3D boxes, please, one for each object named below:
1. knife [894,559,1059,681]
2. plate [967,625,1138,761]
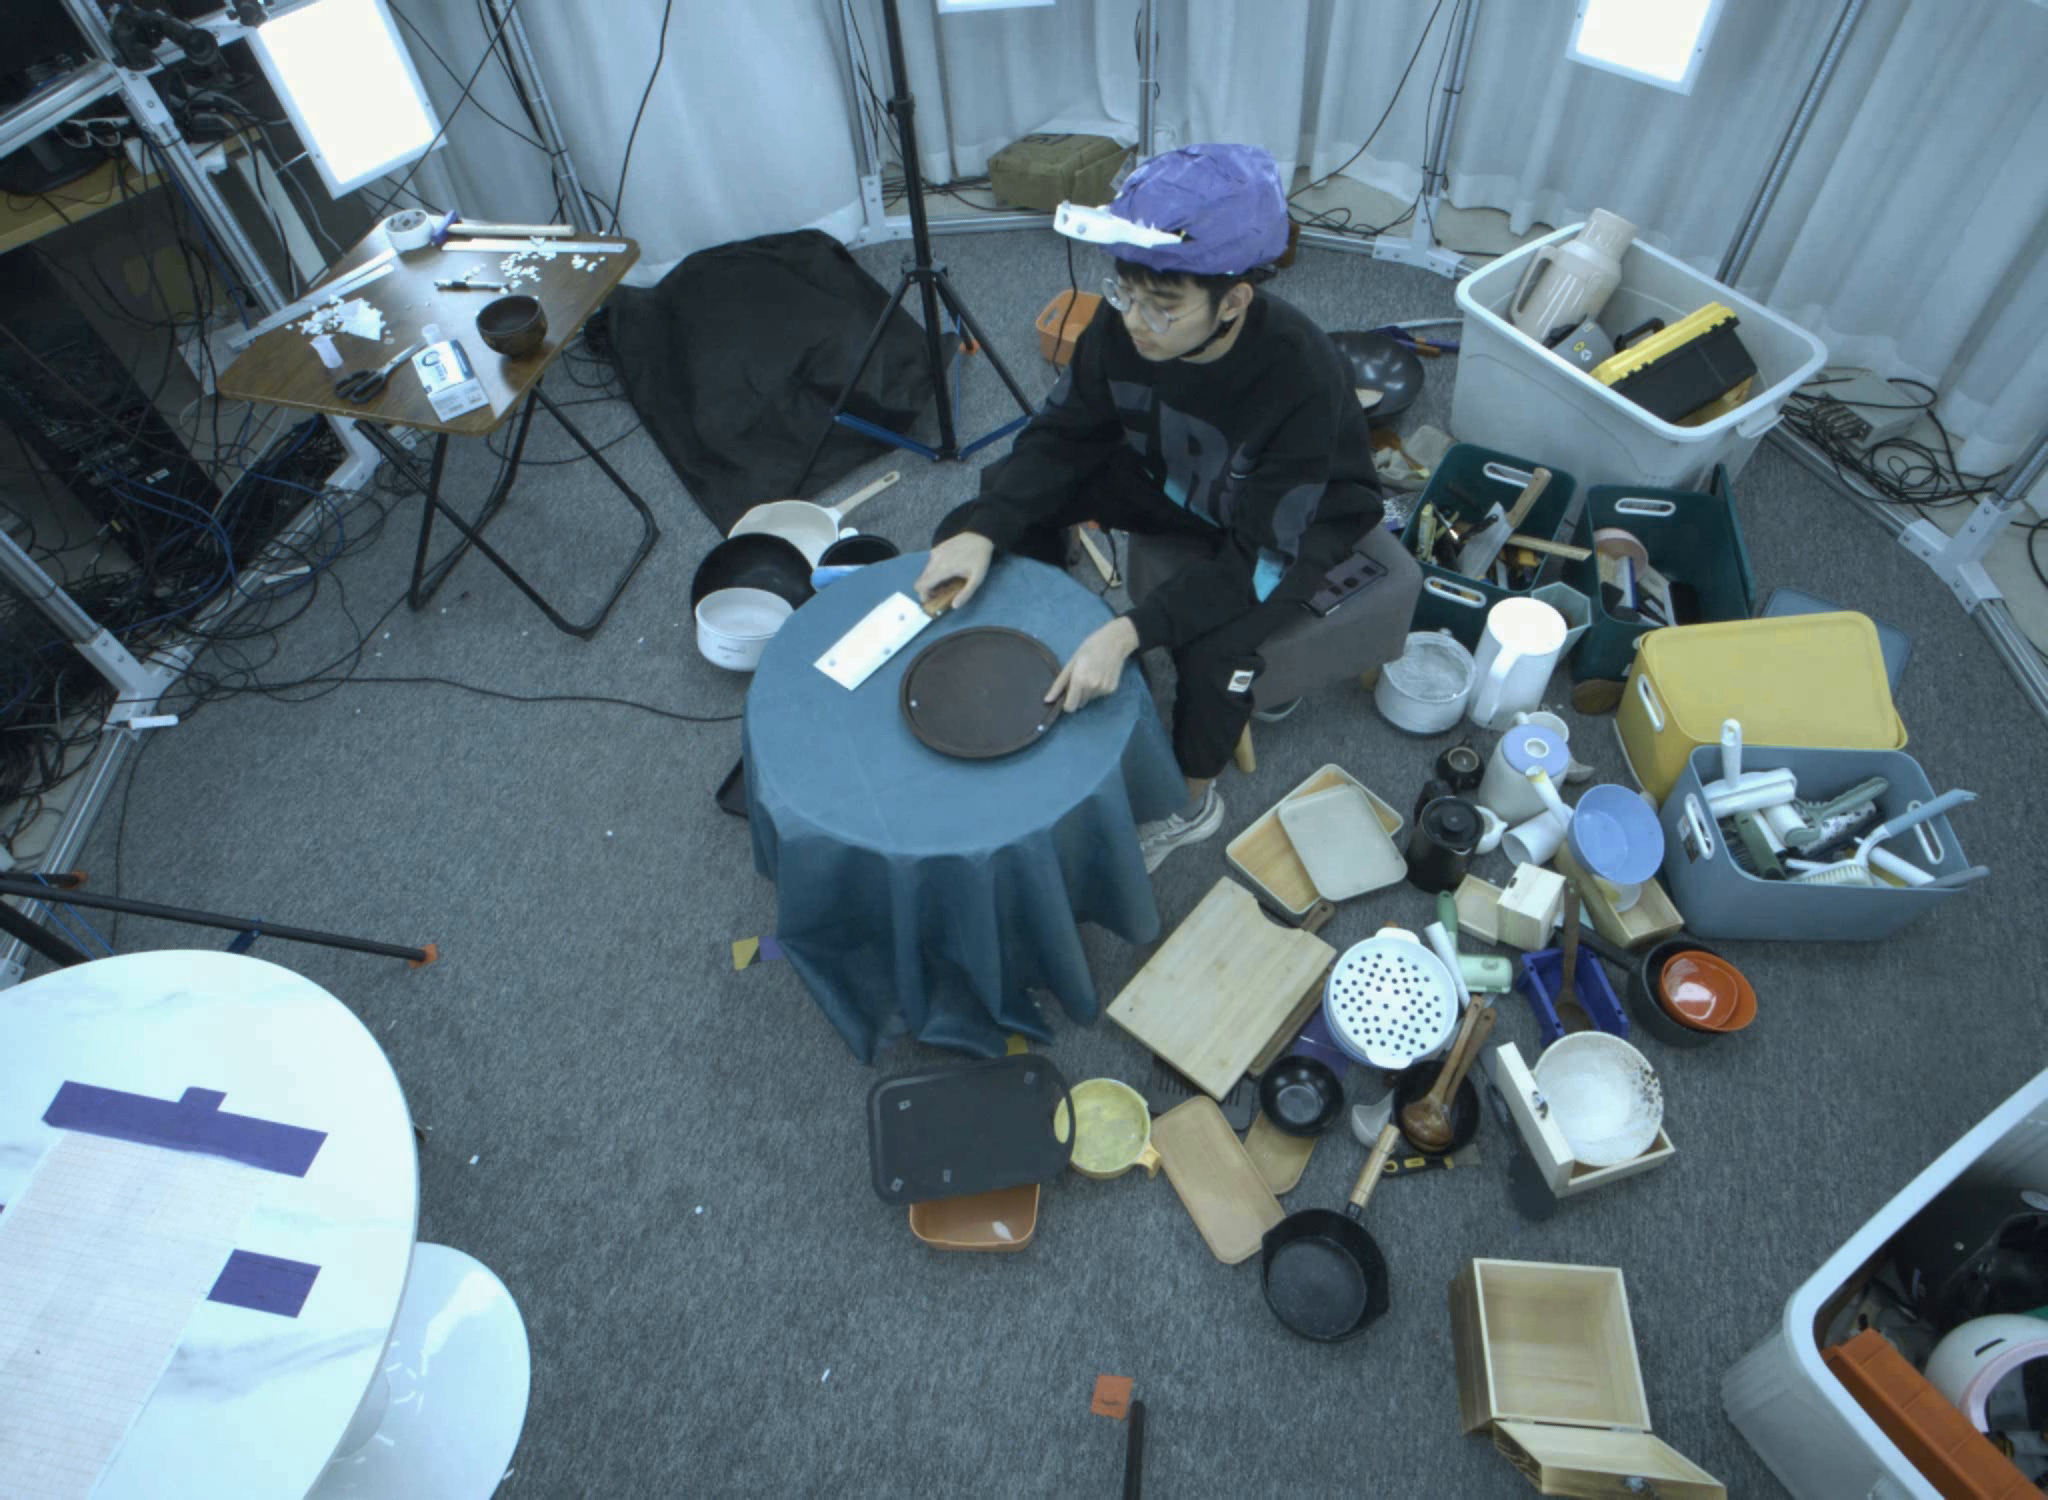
[{"bbox_3d":[-0.078,-0.218,1.935,0.091,0.021,0.307,38,66,27],"label":"knife"},{"bbox_3d":[0.042,-0.087,1.831,0.254,0.029,0.252,0,56,1],"label":"plate"}]
